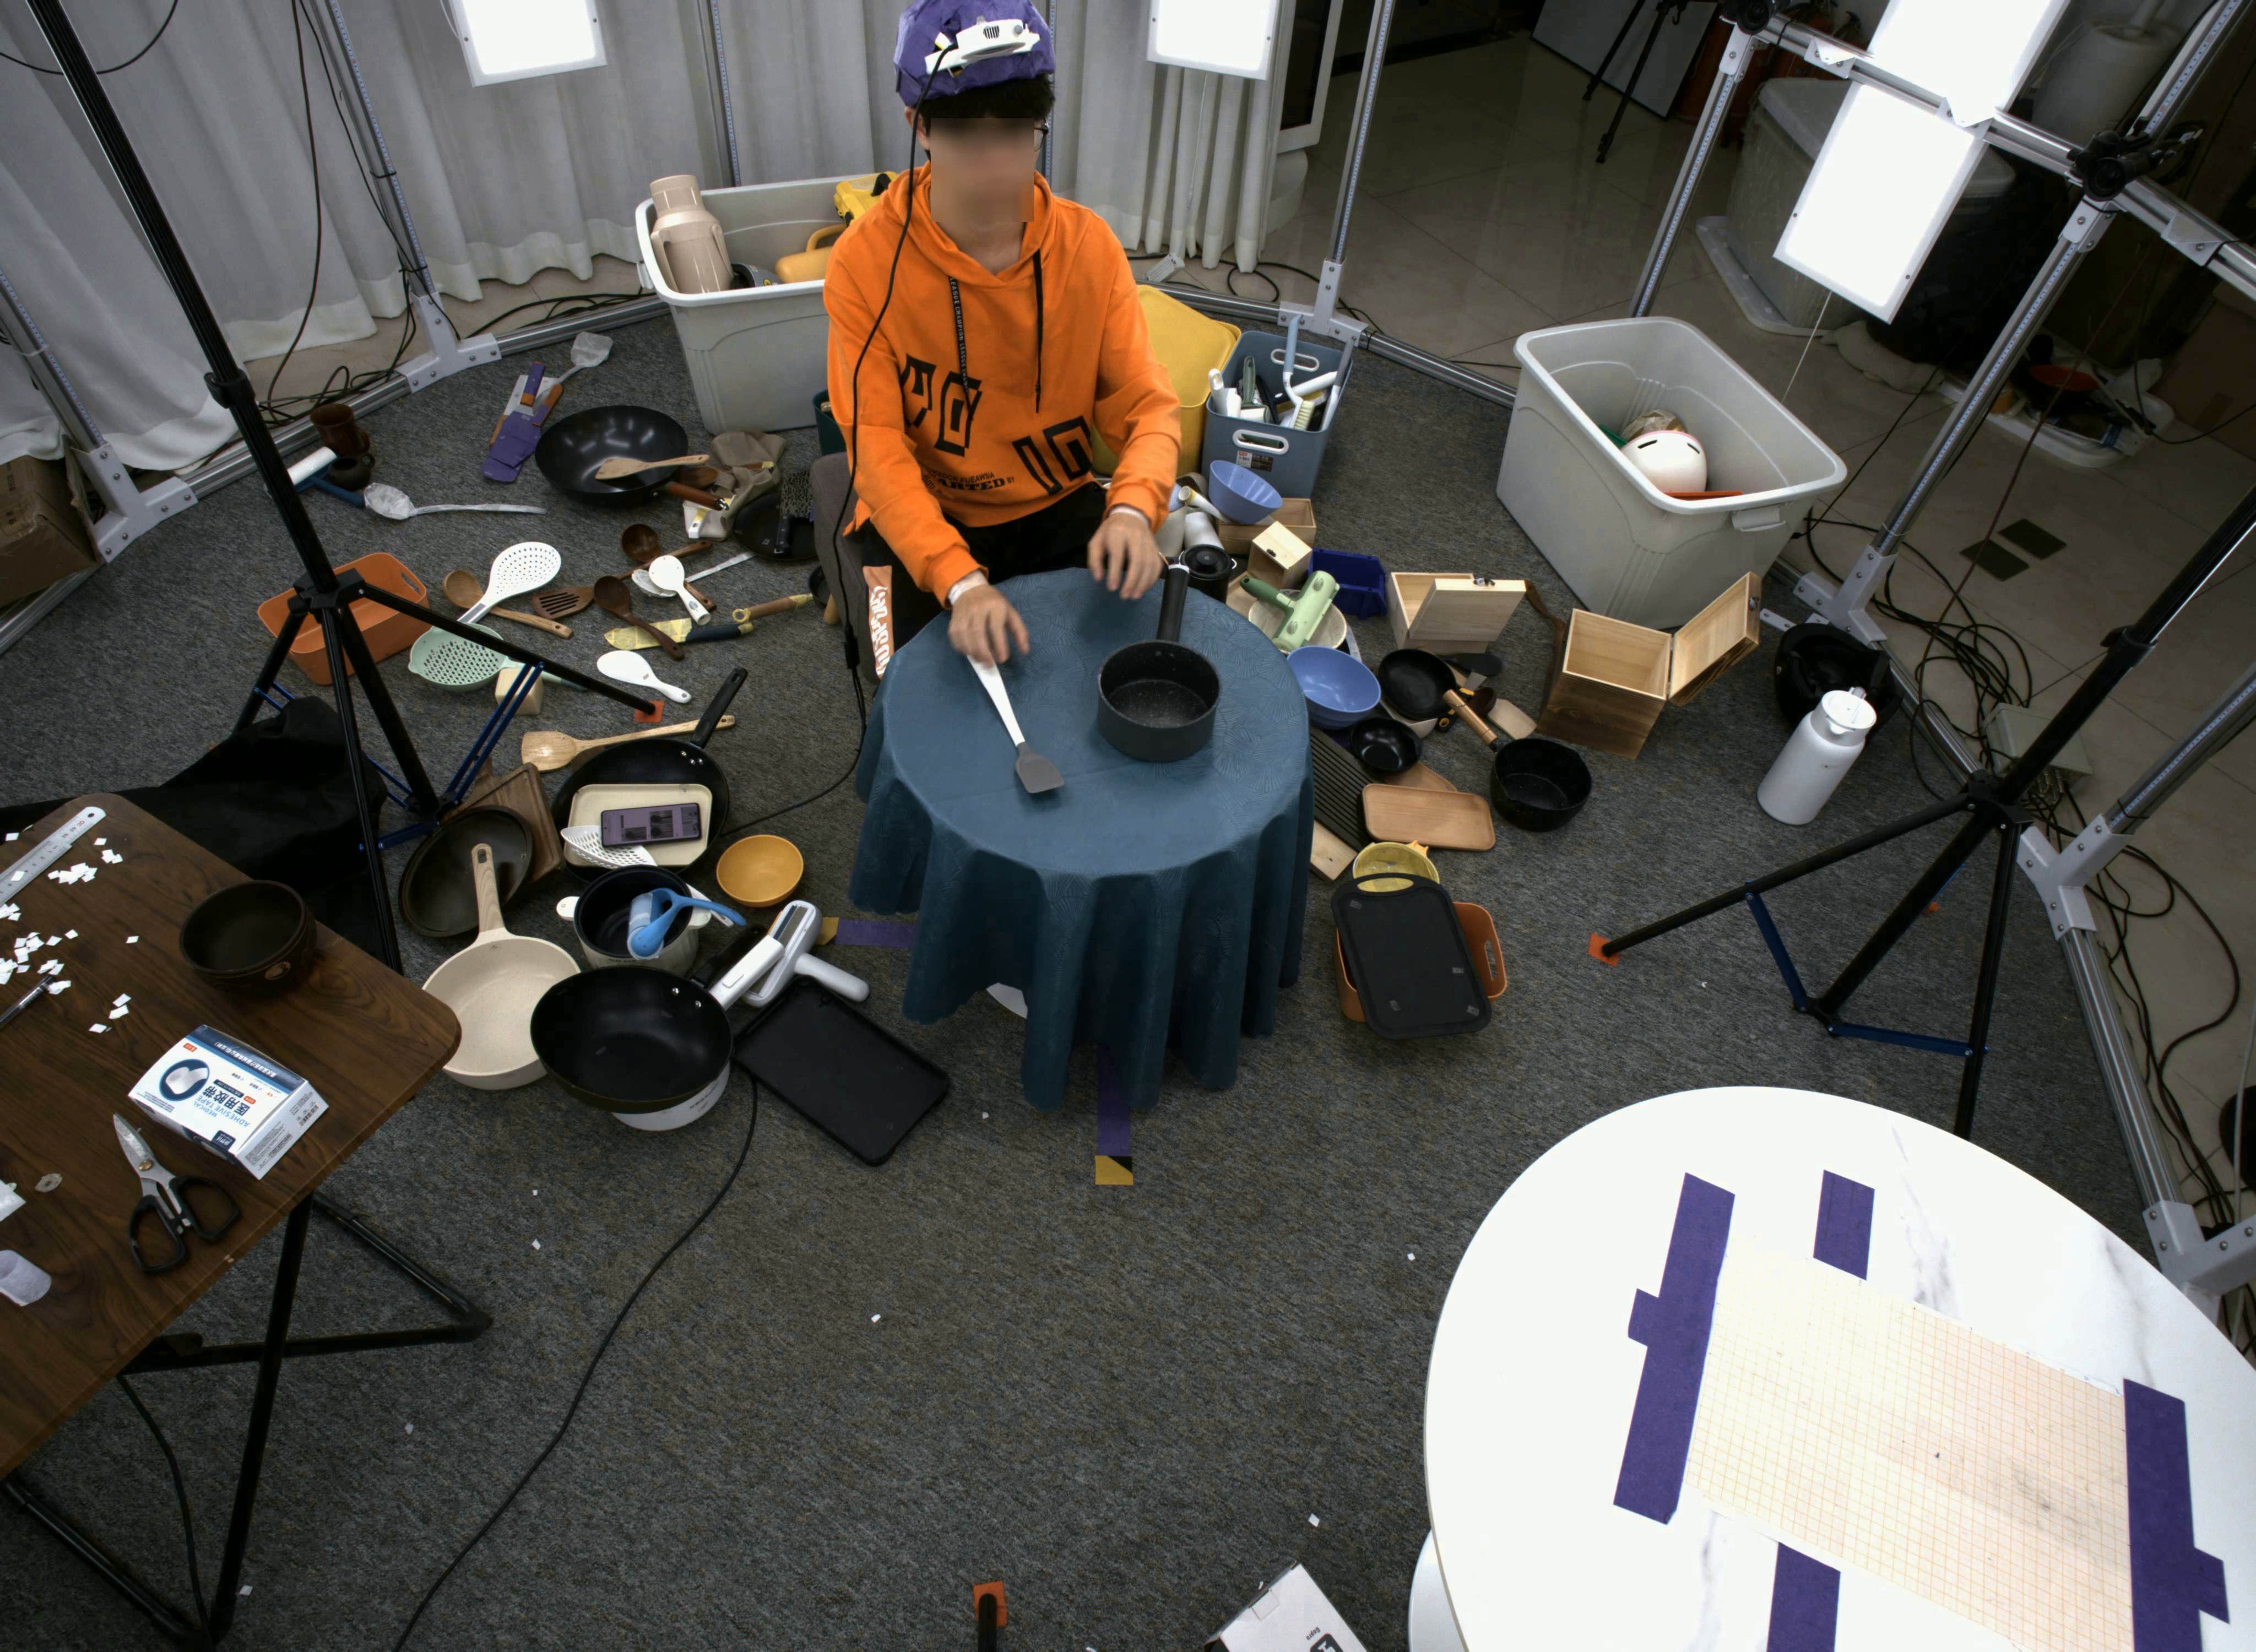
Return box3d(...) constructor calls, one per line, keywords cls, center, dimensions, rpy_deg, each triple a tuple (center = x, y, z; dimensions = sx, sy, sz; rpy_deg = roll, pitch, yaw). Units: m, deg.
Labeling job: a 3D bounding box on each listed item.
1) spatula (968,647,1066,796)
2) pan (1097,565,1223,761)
box3d(cls="spatula", center=(-0.159, -0.142, 1.761), dimensions=(0.058, 0.031, 0.294), rpy_deg=(-12, 50, -20))
box3d(cls="pan", center=(0.055, -0.235, 1.821), dimensions=(0.172, 0.084, 0.336), rpy_deg=(10, 51, 4))
